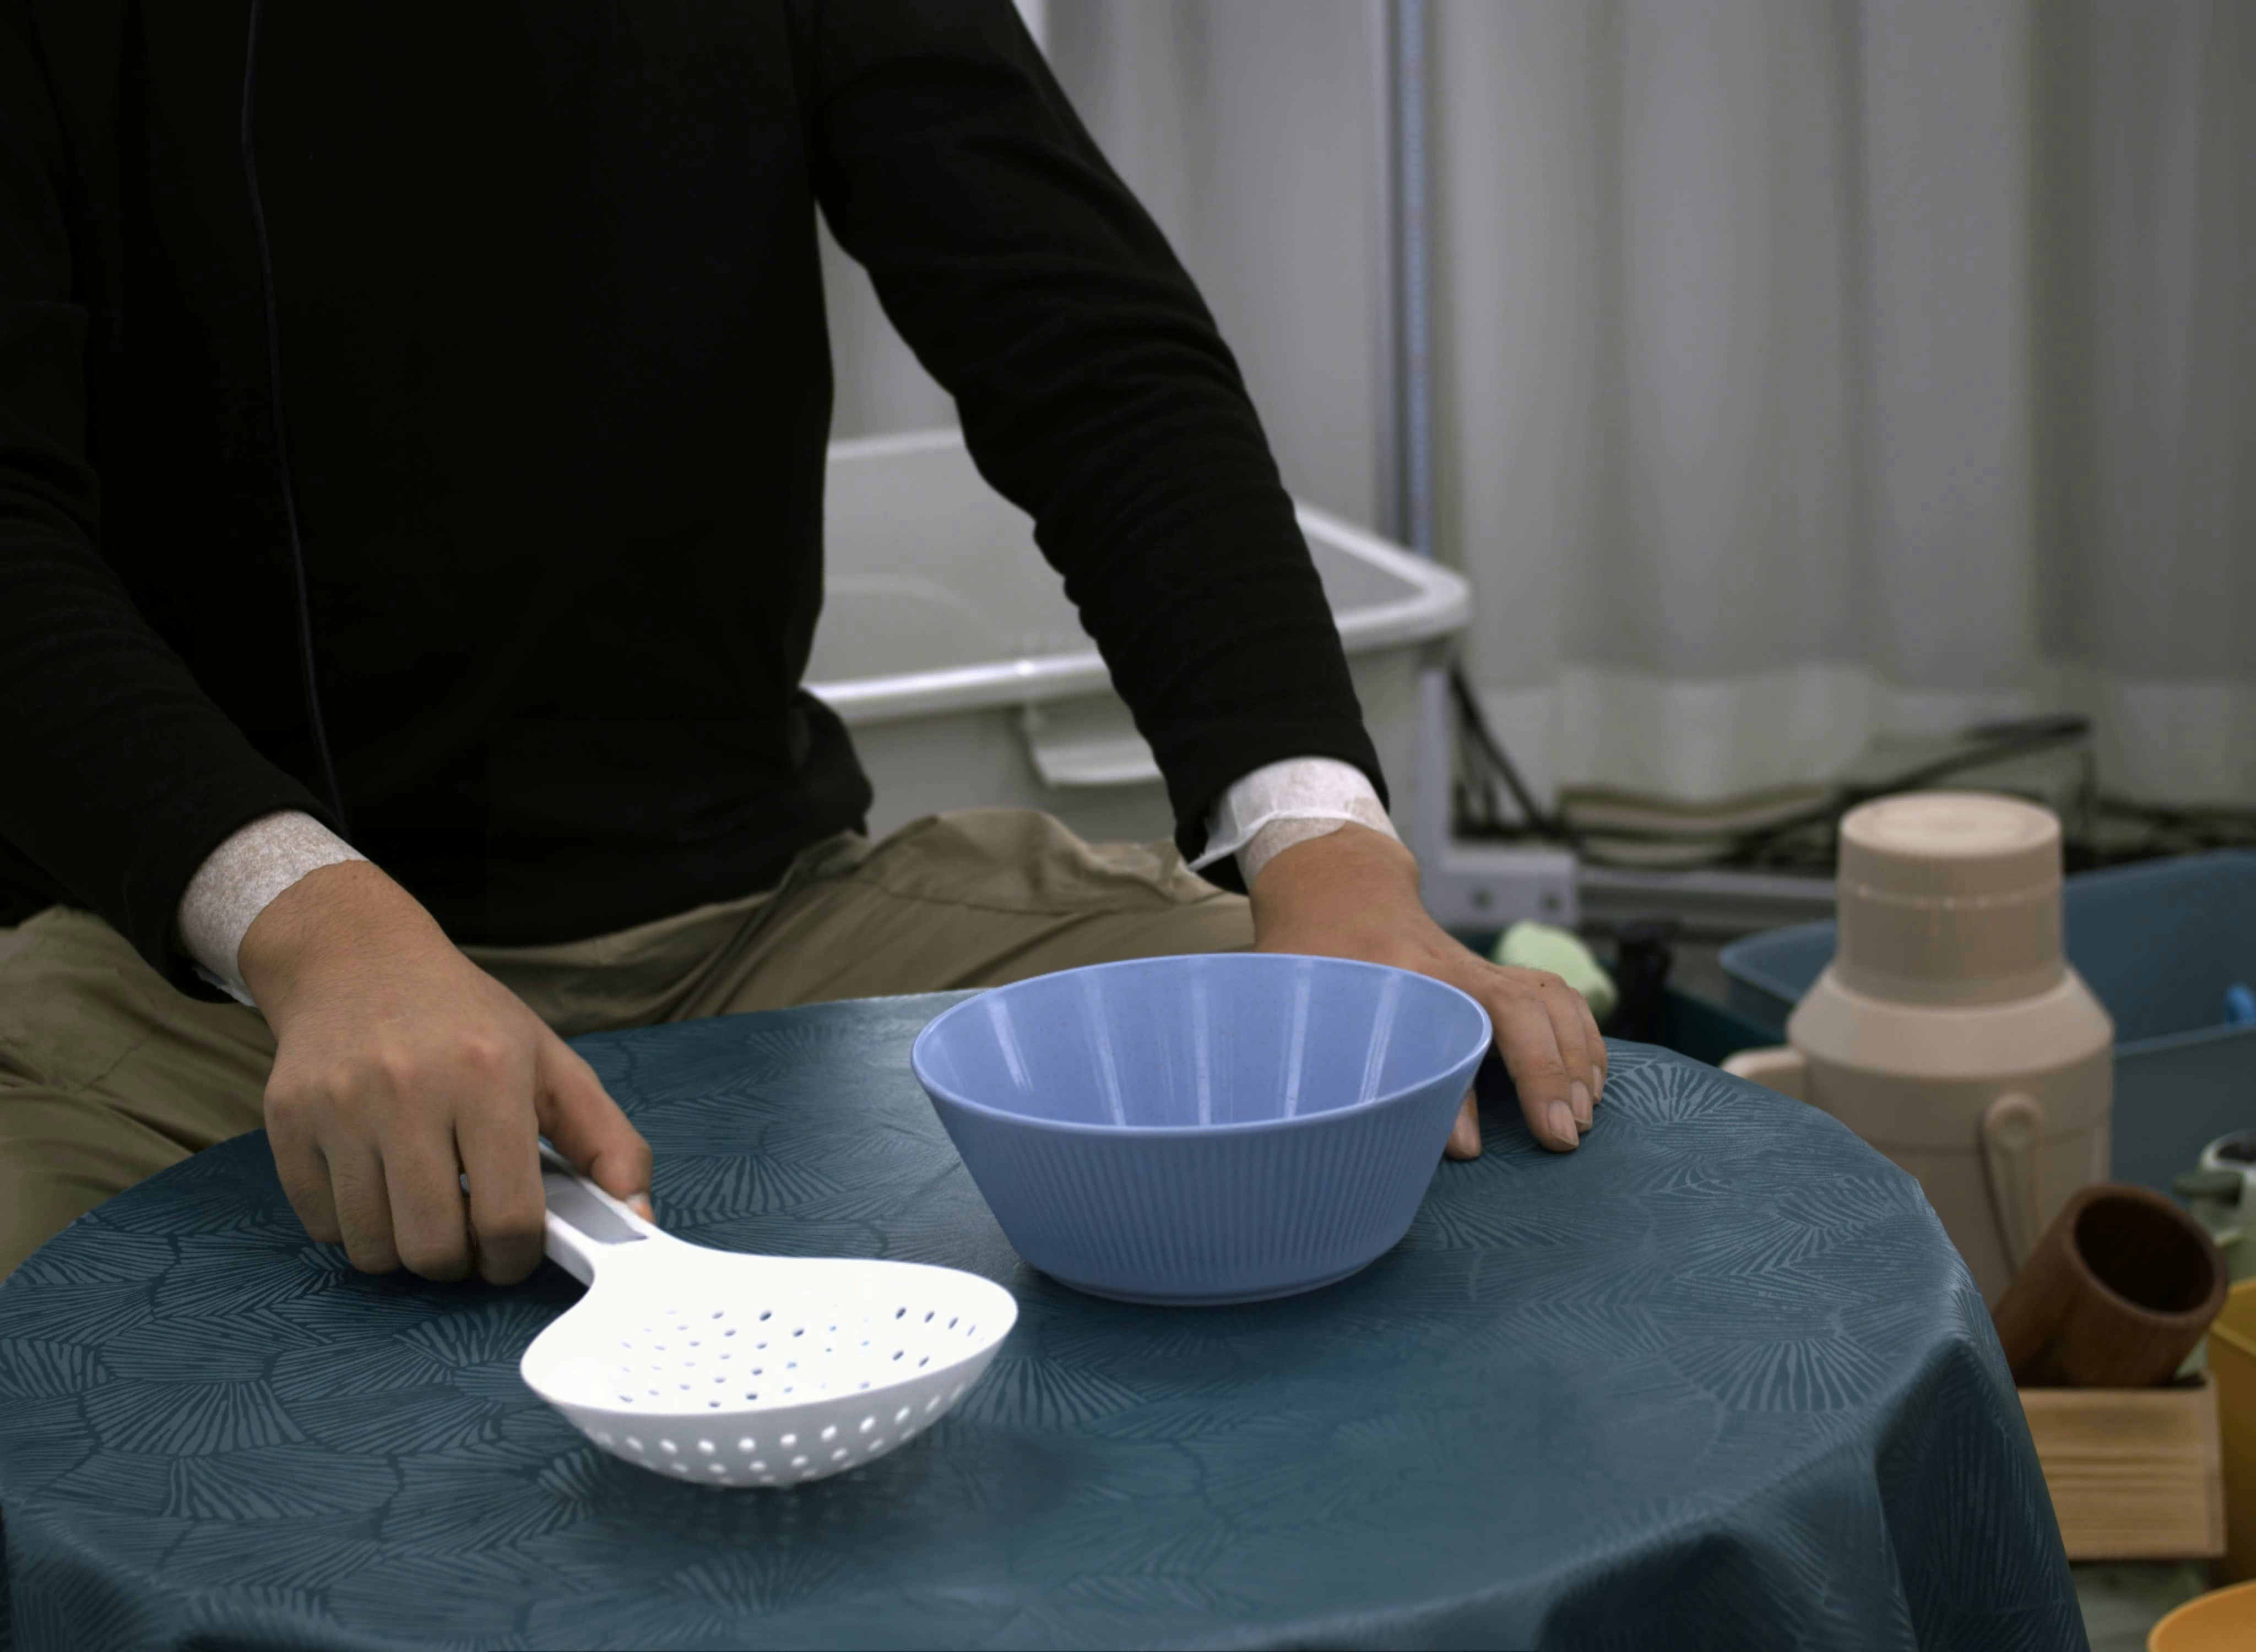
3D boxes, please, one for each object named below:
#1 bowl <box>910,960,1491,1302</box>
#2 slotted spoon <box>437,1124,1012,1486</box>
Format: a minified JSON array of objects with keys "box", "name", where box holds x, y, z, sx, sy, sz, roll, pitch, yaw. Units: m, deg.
[{"box":[0.023,0.094,1.652,0.175,0.070,0.177,-3,14,1],"name":"bowl"},{"box":[-0.141,0.129,1.588,0.135,0.045,0.352,-12,17,-21],"name":"slotted spoon"}]
